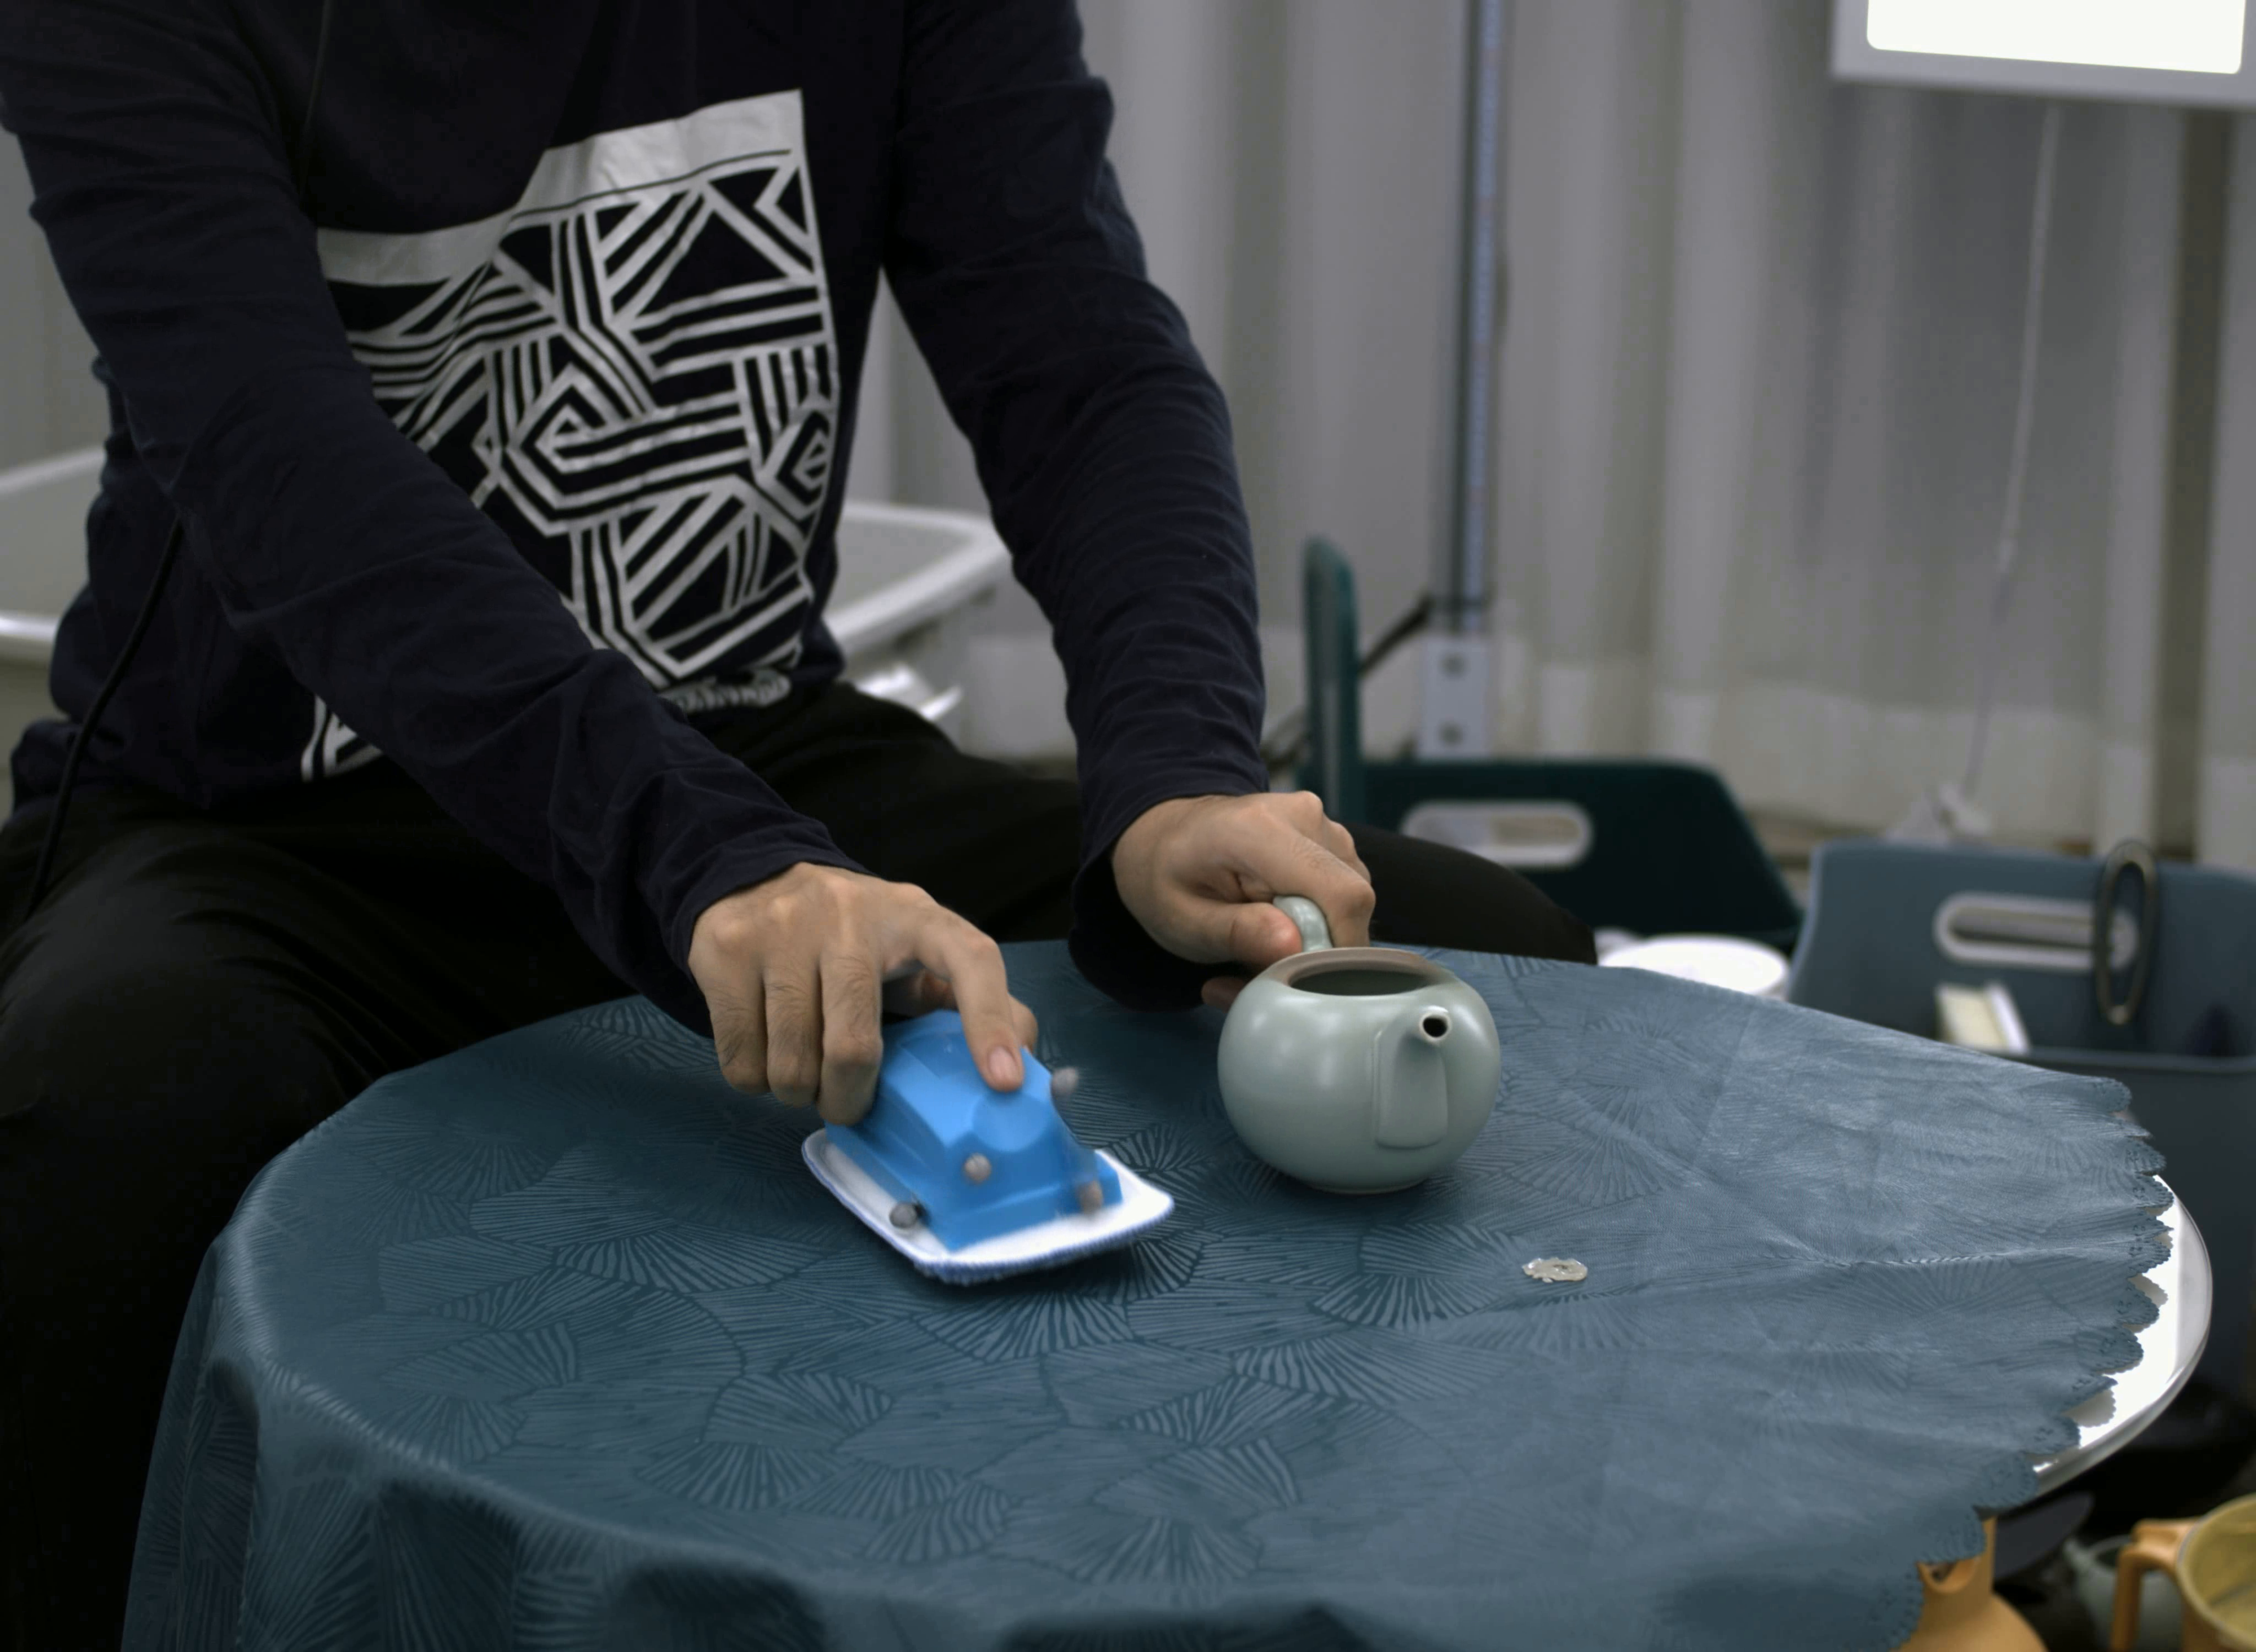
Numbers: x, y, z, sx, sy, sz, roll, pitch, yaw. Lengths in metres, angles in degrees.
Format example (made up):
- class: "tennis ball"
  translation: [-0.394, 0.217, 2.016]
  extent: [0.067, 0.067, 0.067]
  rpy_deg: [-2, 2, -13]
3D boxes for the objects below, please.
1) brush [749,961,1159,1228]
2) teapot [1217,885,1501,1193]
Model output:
- class: "brush"
  translation: [-0.052, 0.078, 1.587]
  extent: [0.084, 0.056, 0.142]
  rpy_deg: [-8, 21, -28]
- class: "teapot"
  translation: [0.072, 0.072, 1.634]
  extent: [0.088, 0.075, 0.142]
  rpy_deg: [-5, 19, -15]
